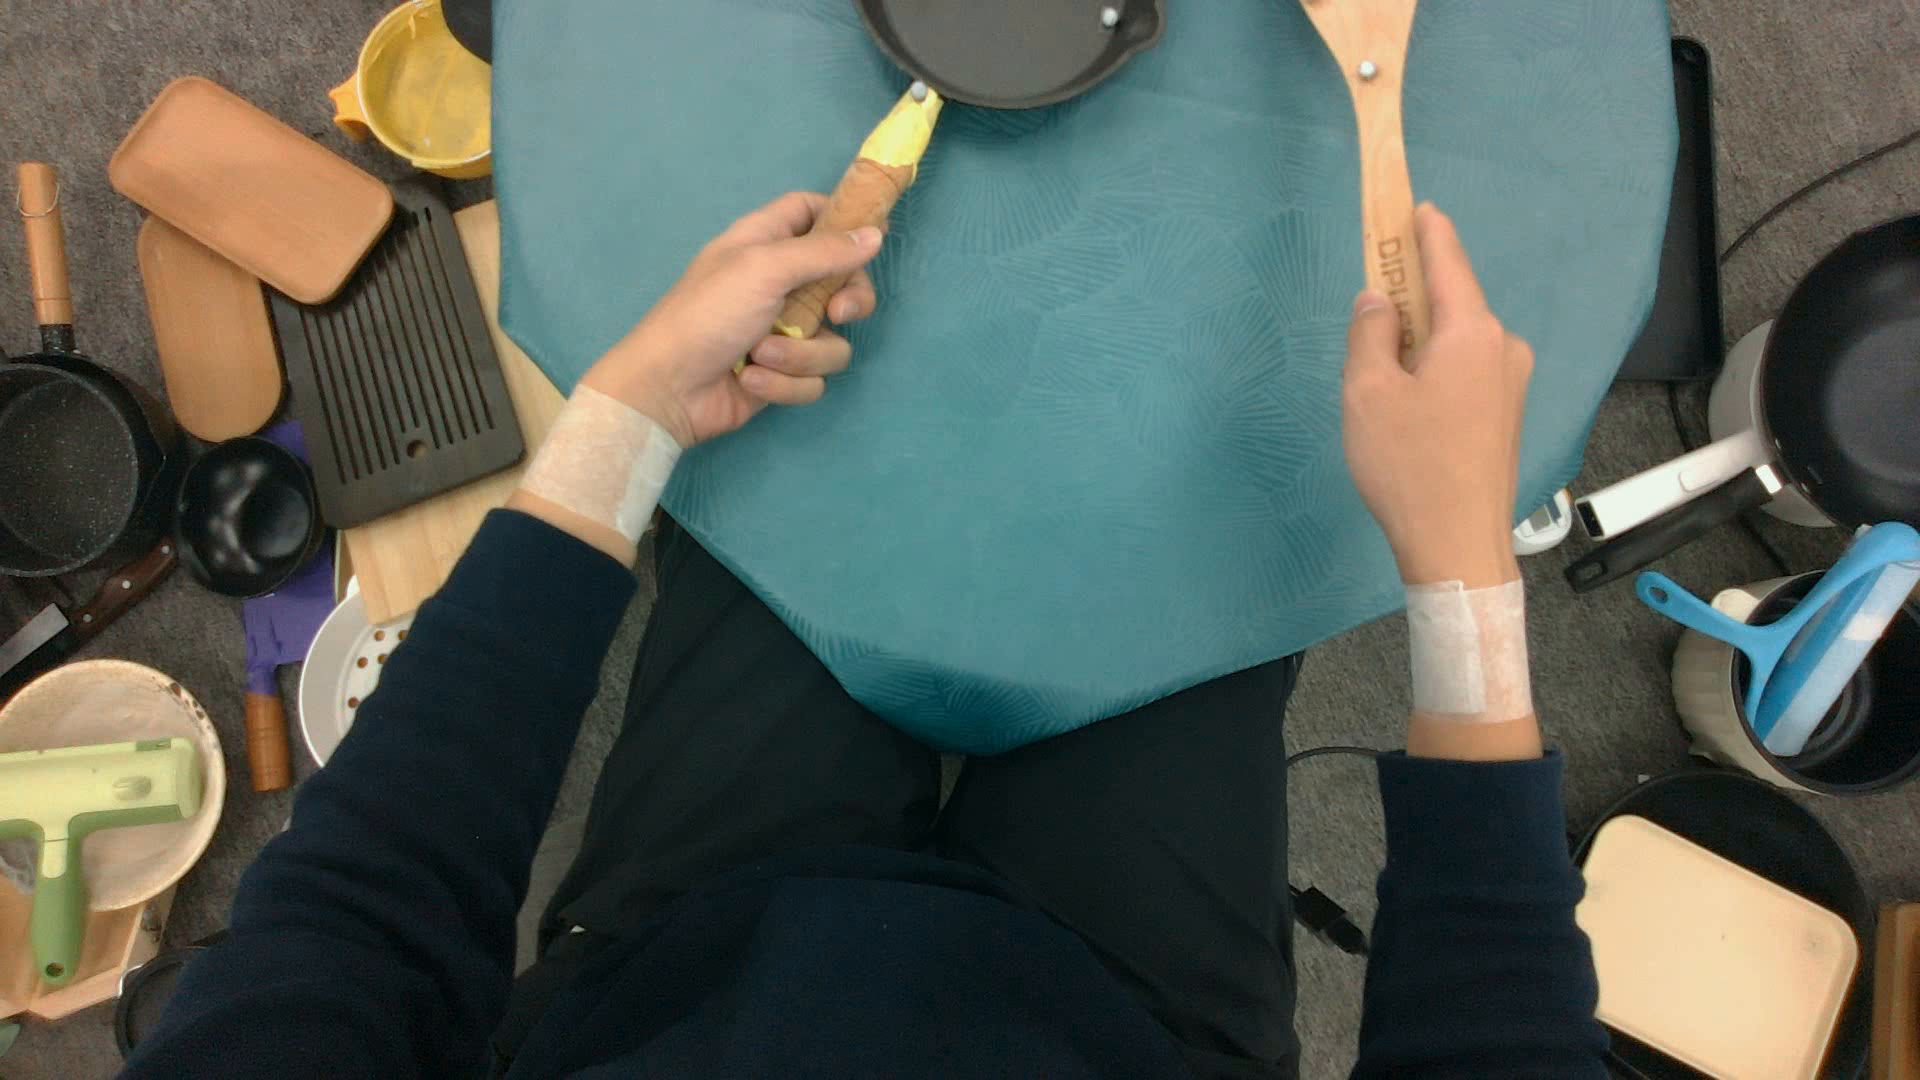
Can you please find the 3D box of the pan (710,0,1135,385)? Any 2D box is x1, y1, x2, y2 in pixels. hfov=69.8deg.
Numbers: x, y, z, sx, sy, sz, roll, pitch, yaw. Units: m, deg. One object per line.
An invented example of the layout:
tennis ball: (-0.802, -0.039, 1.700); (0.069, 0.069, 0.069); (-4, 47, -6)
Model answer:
pan: (-0.032, -0.213, 0.660); (0.169, 0.049, 0.324); (29, 81, 0)

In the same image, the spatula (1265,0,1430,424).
spatula: (0.169, -0.203, 0.619); (0.080, 0.016, 0.328); (-14, 67, 27)
